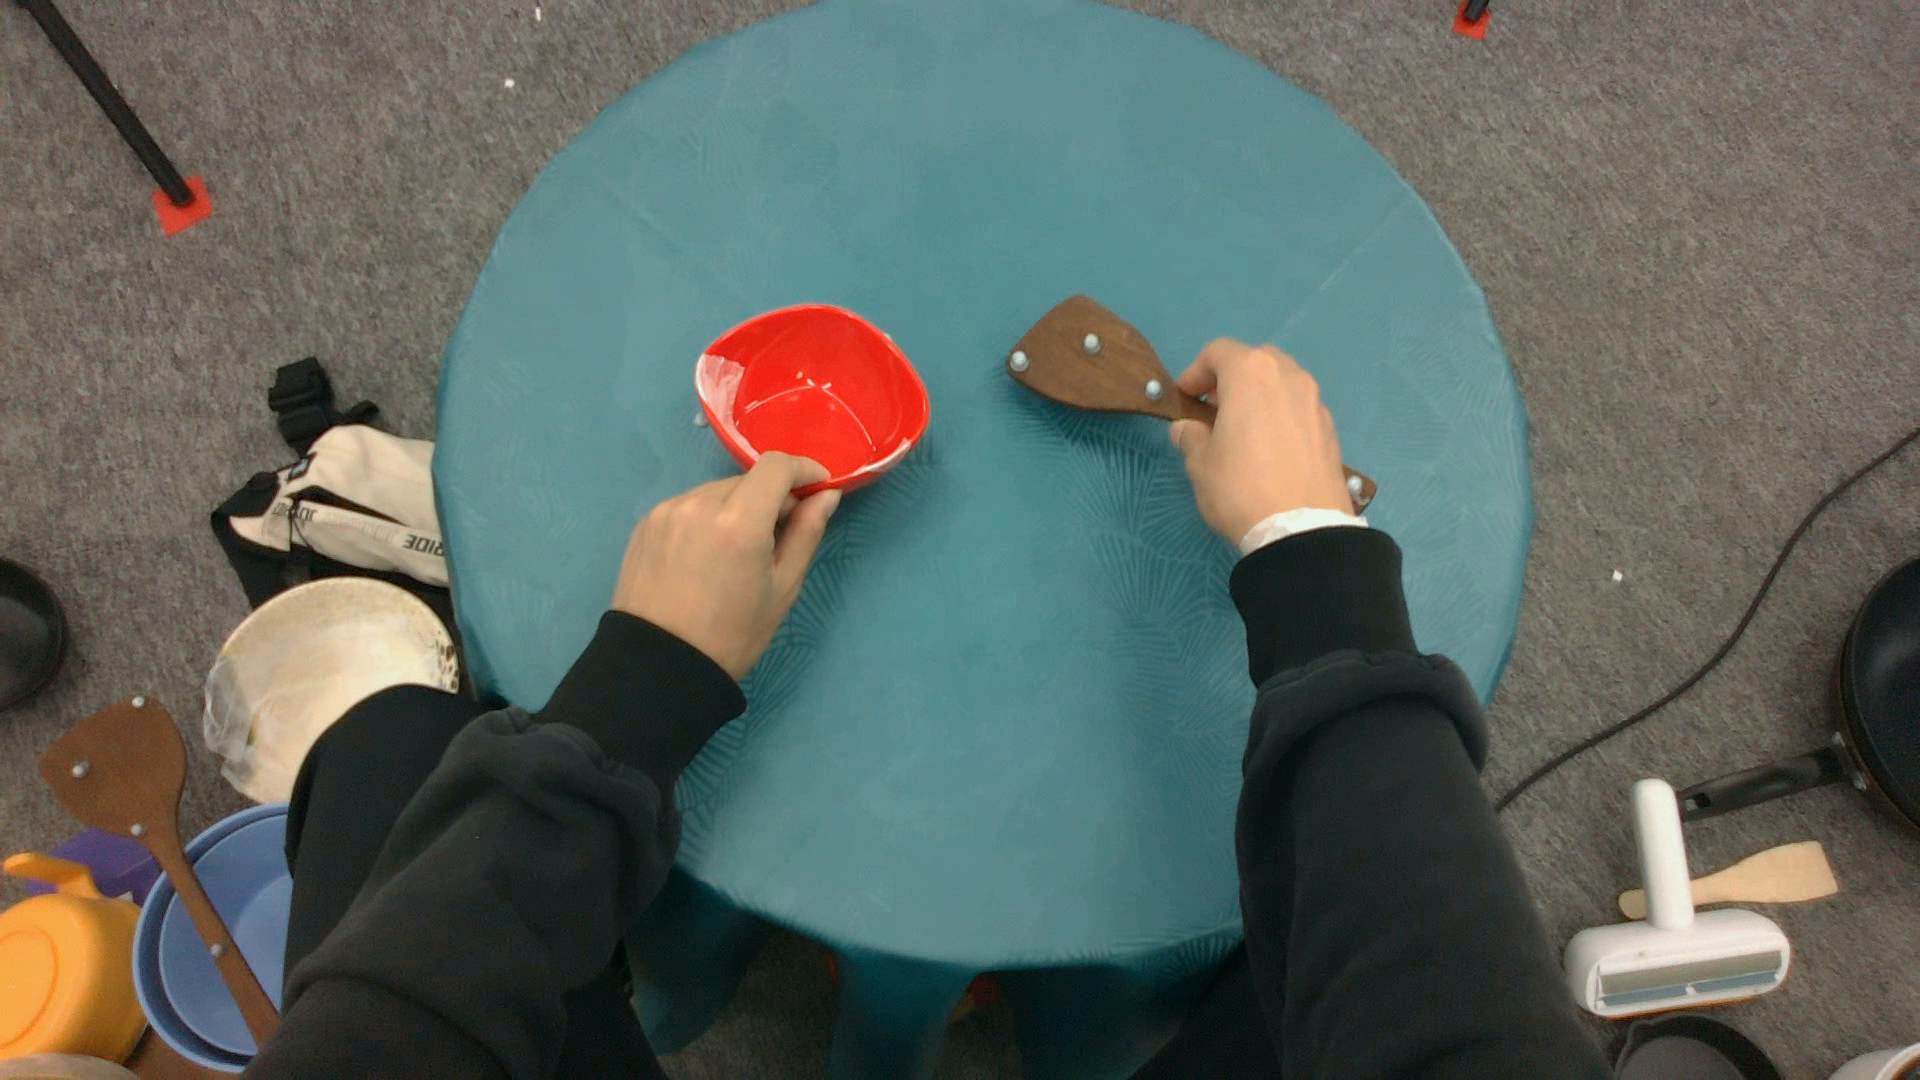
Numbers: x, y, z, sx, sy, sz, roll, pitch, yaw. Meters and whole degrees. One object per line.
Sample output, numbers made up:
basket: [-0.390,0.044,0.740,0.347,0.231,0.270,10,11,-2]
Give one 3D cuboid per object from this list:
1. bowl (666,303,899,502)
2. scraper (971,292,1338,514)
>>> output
bowl: [-0.095,-0.063,0.713,0.119,0.051,0.119,10,52,-13]
scraper: [0.104,-0.070,0.732,0.211,0.011,0.076,32,60,25]
